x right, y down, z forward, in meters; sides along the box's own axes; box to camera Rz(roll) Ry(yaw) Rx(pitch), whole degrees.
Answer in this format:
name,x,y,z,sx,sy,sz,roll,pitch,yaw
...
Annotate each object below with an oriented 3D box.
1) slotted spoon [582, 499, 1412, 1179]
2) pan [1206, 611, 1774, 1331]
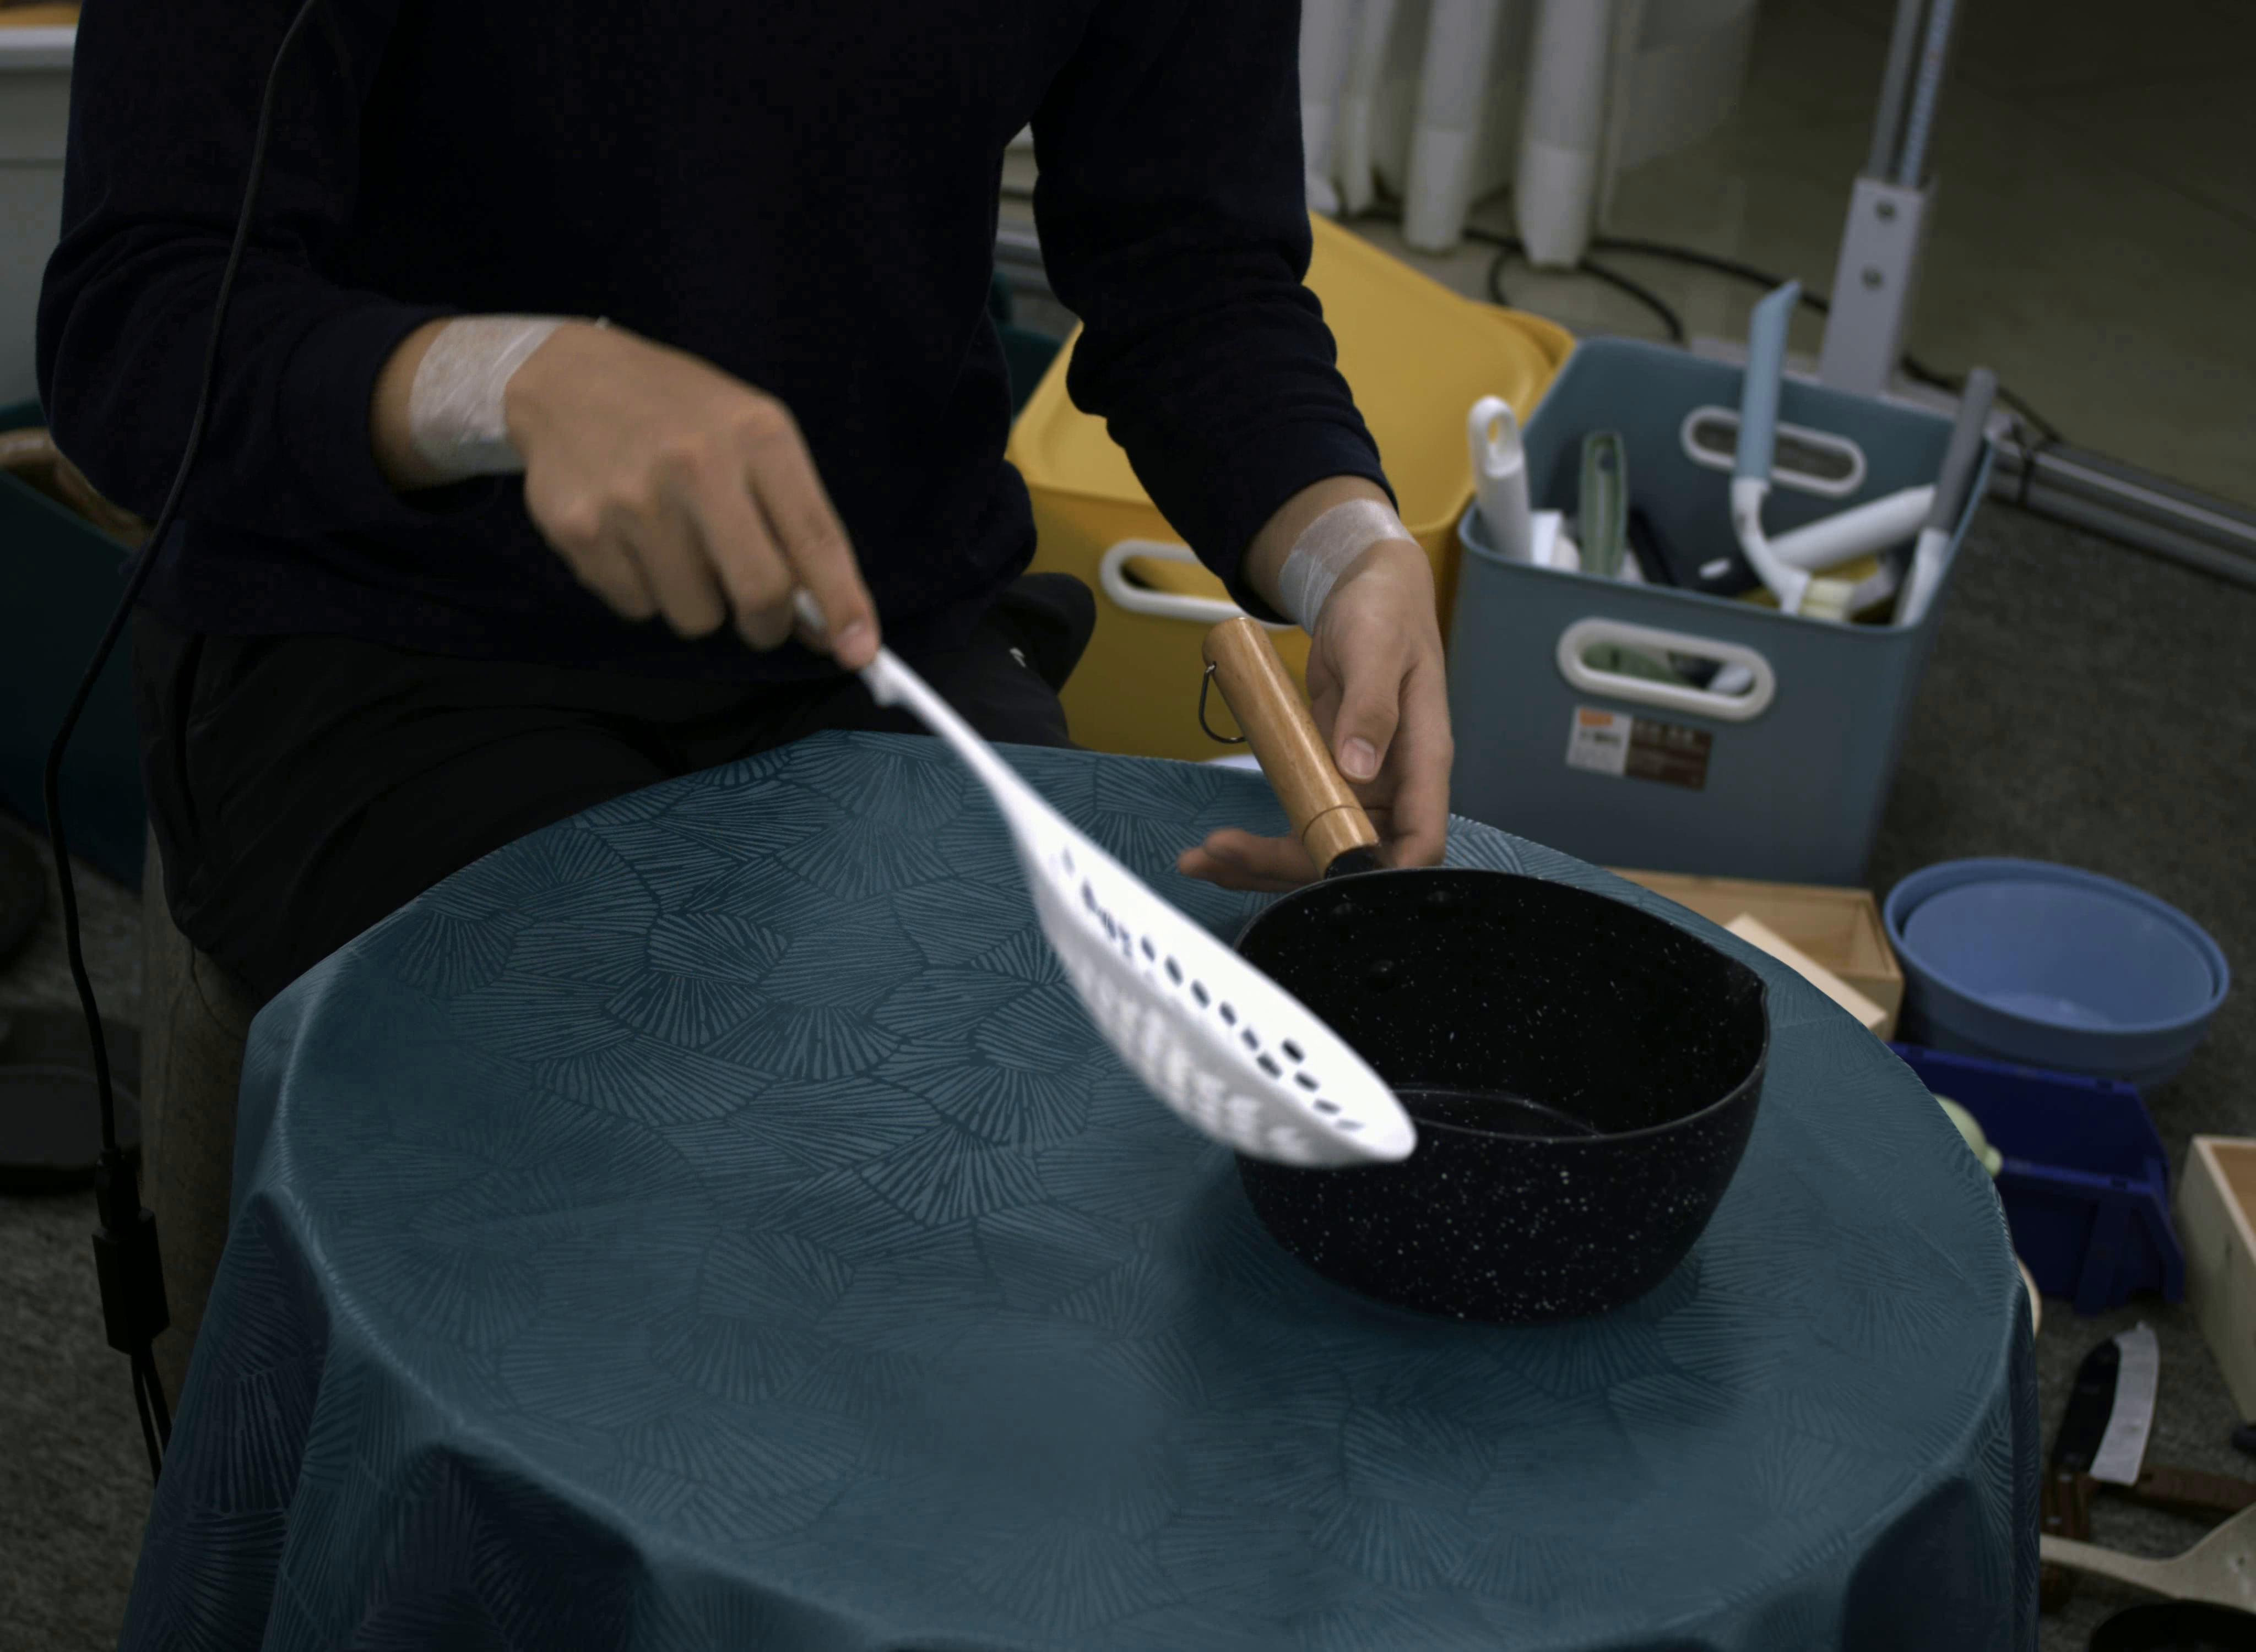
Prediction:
name,x,y,z,sx,sy,sz,roll,pitch,yaw
slotted spoon,-0.048,-0.001,1.685,0.350,0.050,0.136,47,13,20
pan,0.091,0.047,1.854,0.206,0.108,0.346,-6,31,-21
